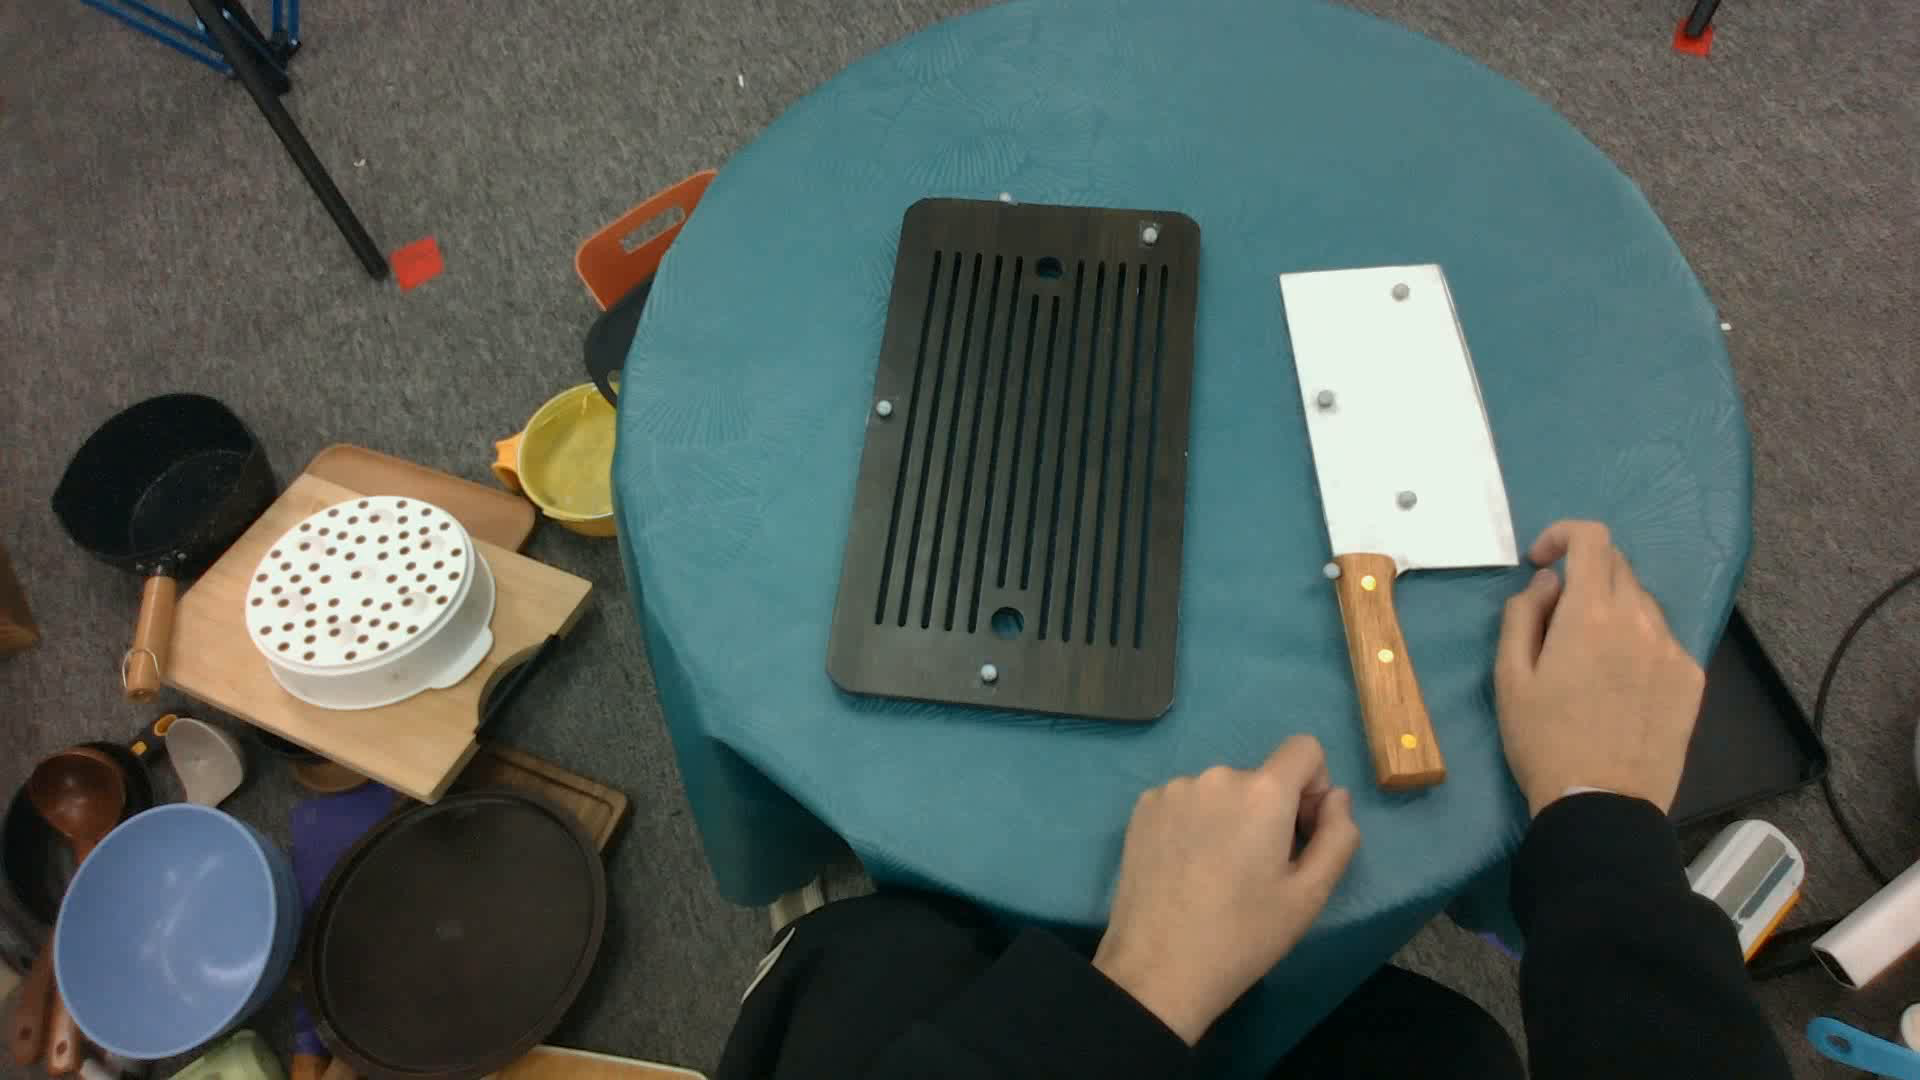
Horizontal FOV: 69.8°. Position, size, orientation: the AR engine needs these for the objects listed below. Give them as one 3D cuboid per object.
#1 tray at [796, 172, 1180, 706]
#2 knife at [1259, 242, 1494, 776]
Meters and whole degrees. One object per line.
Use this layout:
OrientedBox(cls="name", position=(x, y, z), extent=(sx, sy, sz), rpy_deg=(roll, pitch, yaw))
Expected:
OrientedBox(cls="tray", position=(0.022, -0.064, 0.720), extent=(0.170, 0.018, 0.307), rpy_deg=(6, 65, 5))
OrientedBox(cls="knife", position=(0.217, -0.030, 0.698), extent=(0.093, 0.021, 0.307), rpy_deg=(-3, 62, -1))
